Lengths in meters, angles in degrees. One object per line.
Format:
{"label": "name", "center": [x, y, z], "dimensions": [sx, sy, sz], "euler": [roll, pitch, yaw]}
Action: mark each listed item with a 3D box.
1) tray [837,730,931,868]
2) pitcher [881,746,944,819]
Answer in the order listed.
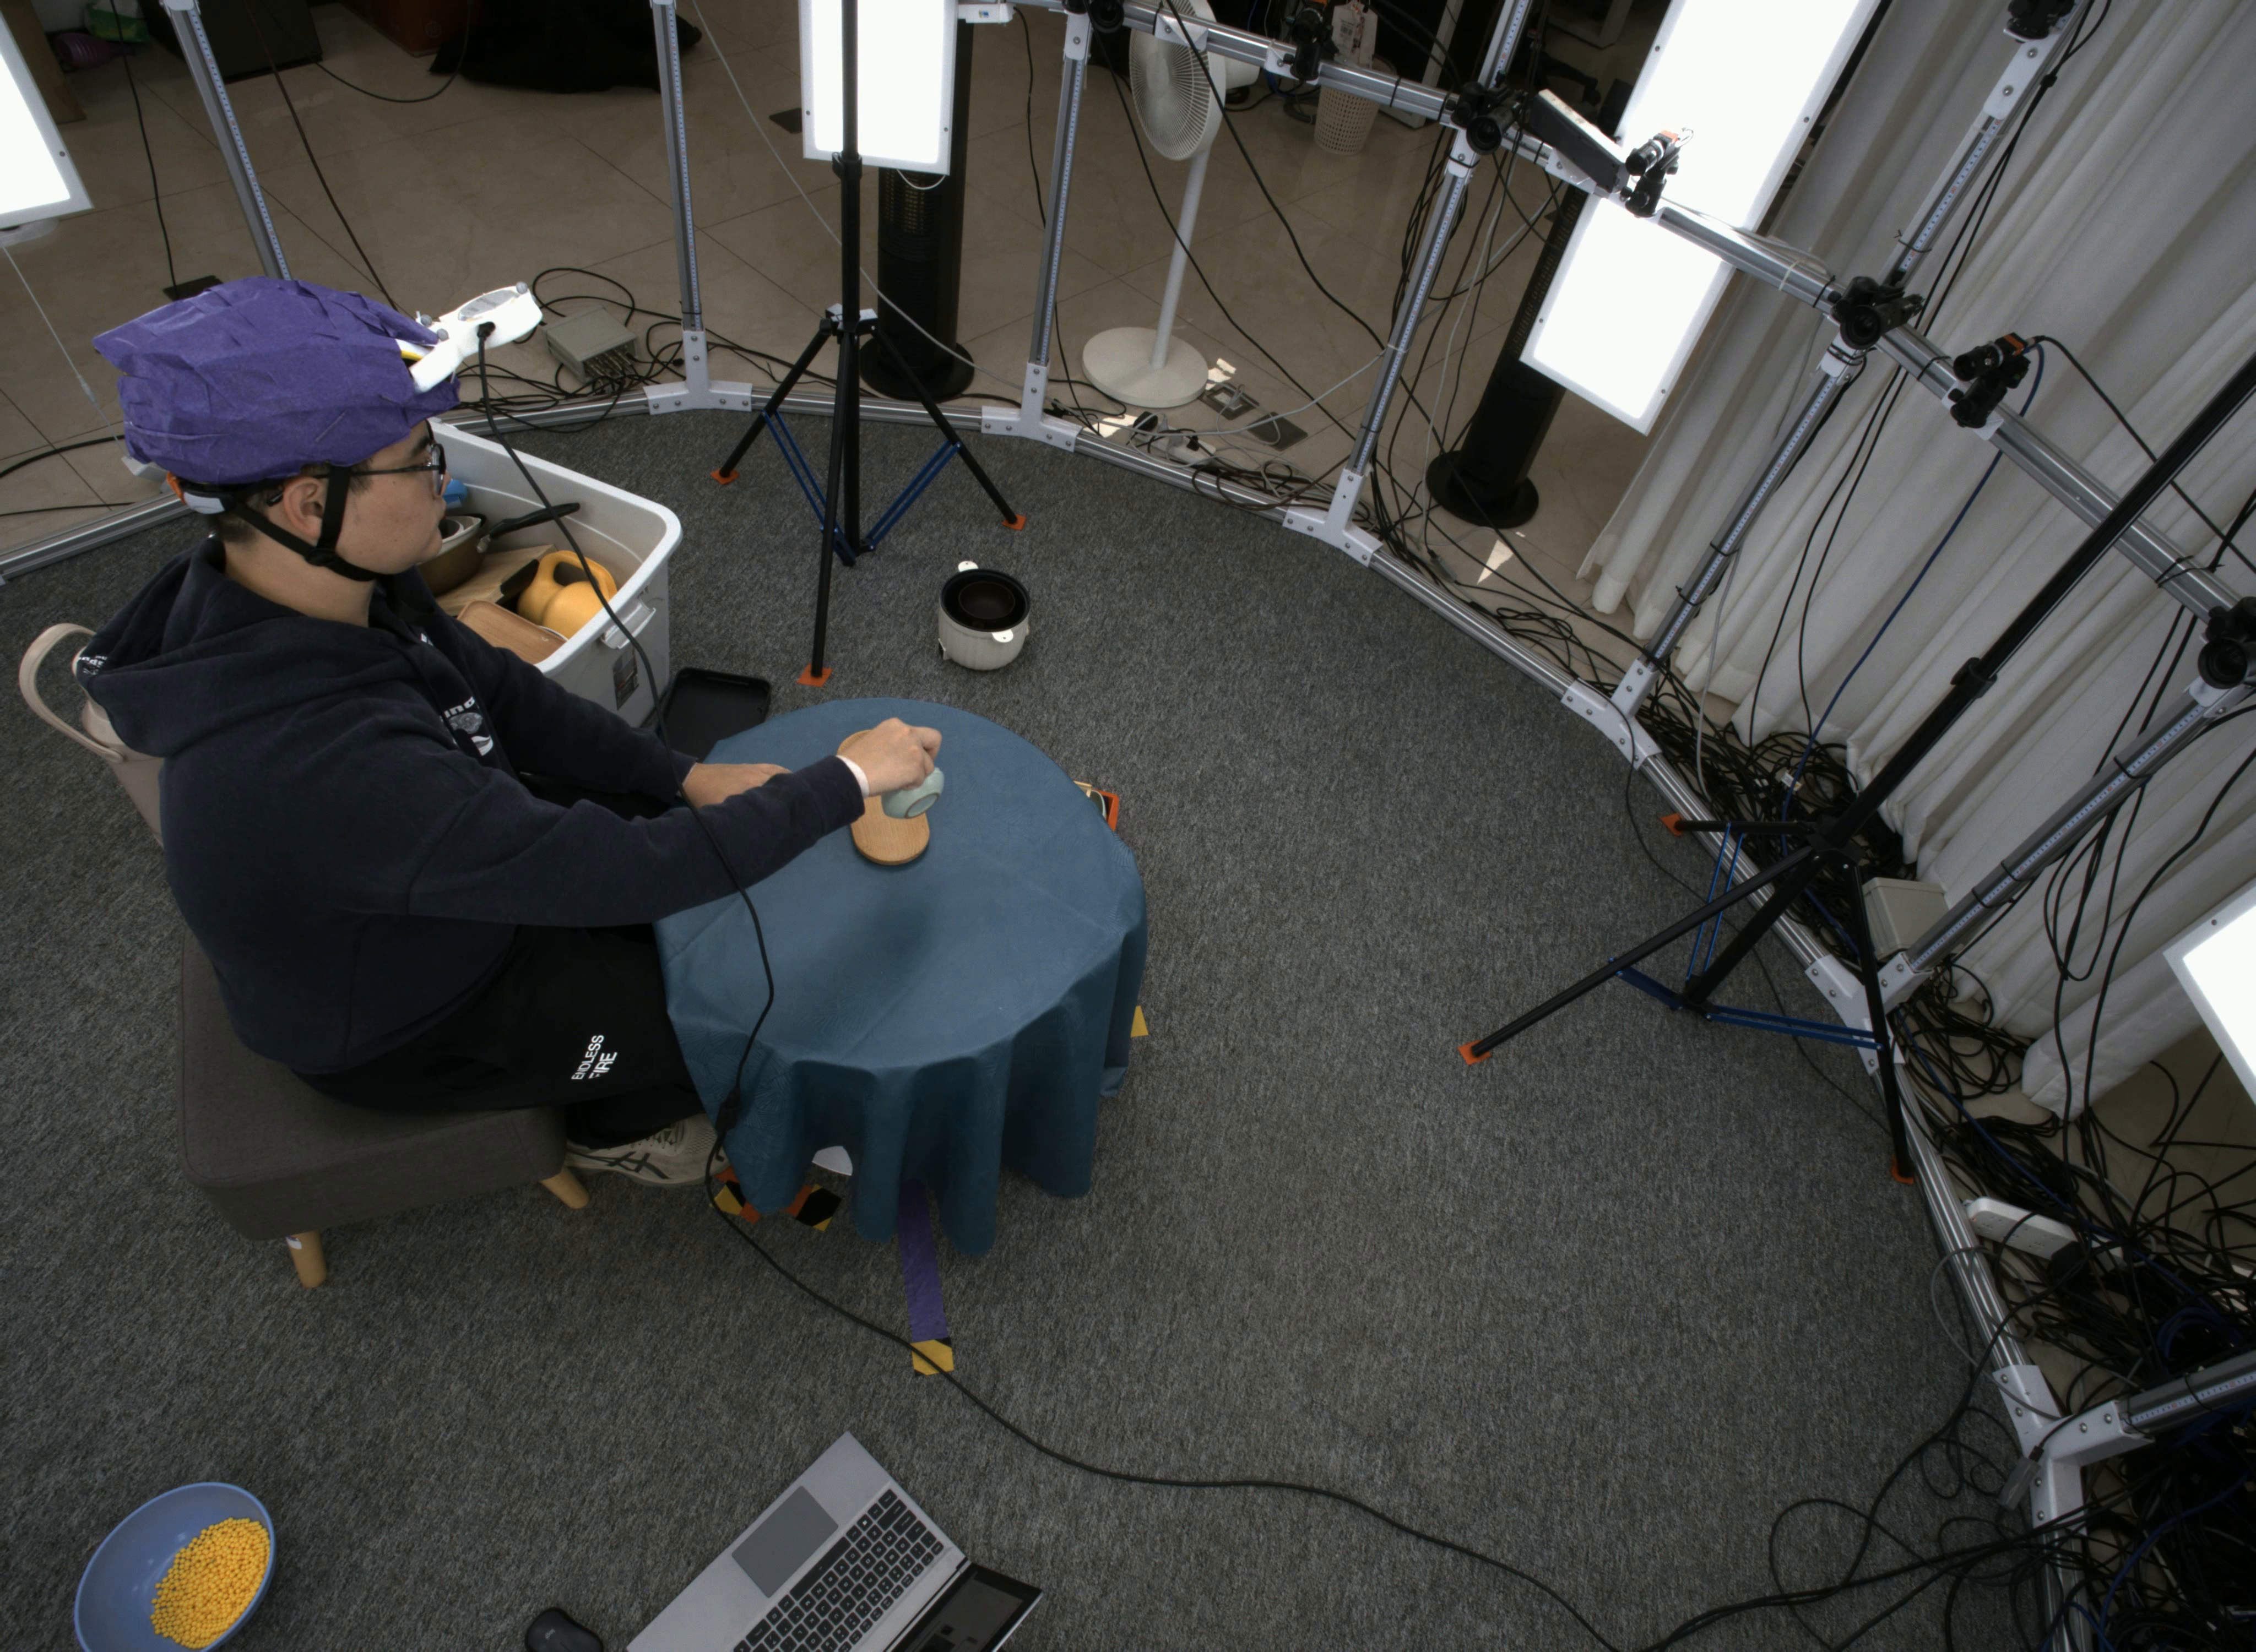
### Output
{"label": "tray", "center": [-0.332, -0.039, 1.763], "dimensions": [0.102, 0.021, 0.226], "euler": [-9, 59, -18]}
{"label": "pitcher", "center": [-0.264, -0.053, 1.581], "dimensions": [0.086, 0.109, 0.060], "euler": [-31, 77, -27]}
